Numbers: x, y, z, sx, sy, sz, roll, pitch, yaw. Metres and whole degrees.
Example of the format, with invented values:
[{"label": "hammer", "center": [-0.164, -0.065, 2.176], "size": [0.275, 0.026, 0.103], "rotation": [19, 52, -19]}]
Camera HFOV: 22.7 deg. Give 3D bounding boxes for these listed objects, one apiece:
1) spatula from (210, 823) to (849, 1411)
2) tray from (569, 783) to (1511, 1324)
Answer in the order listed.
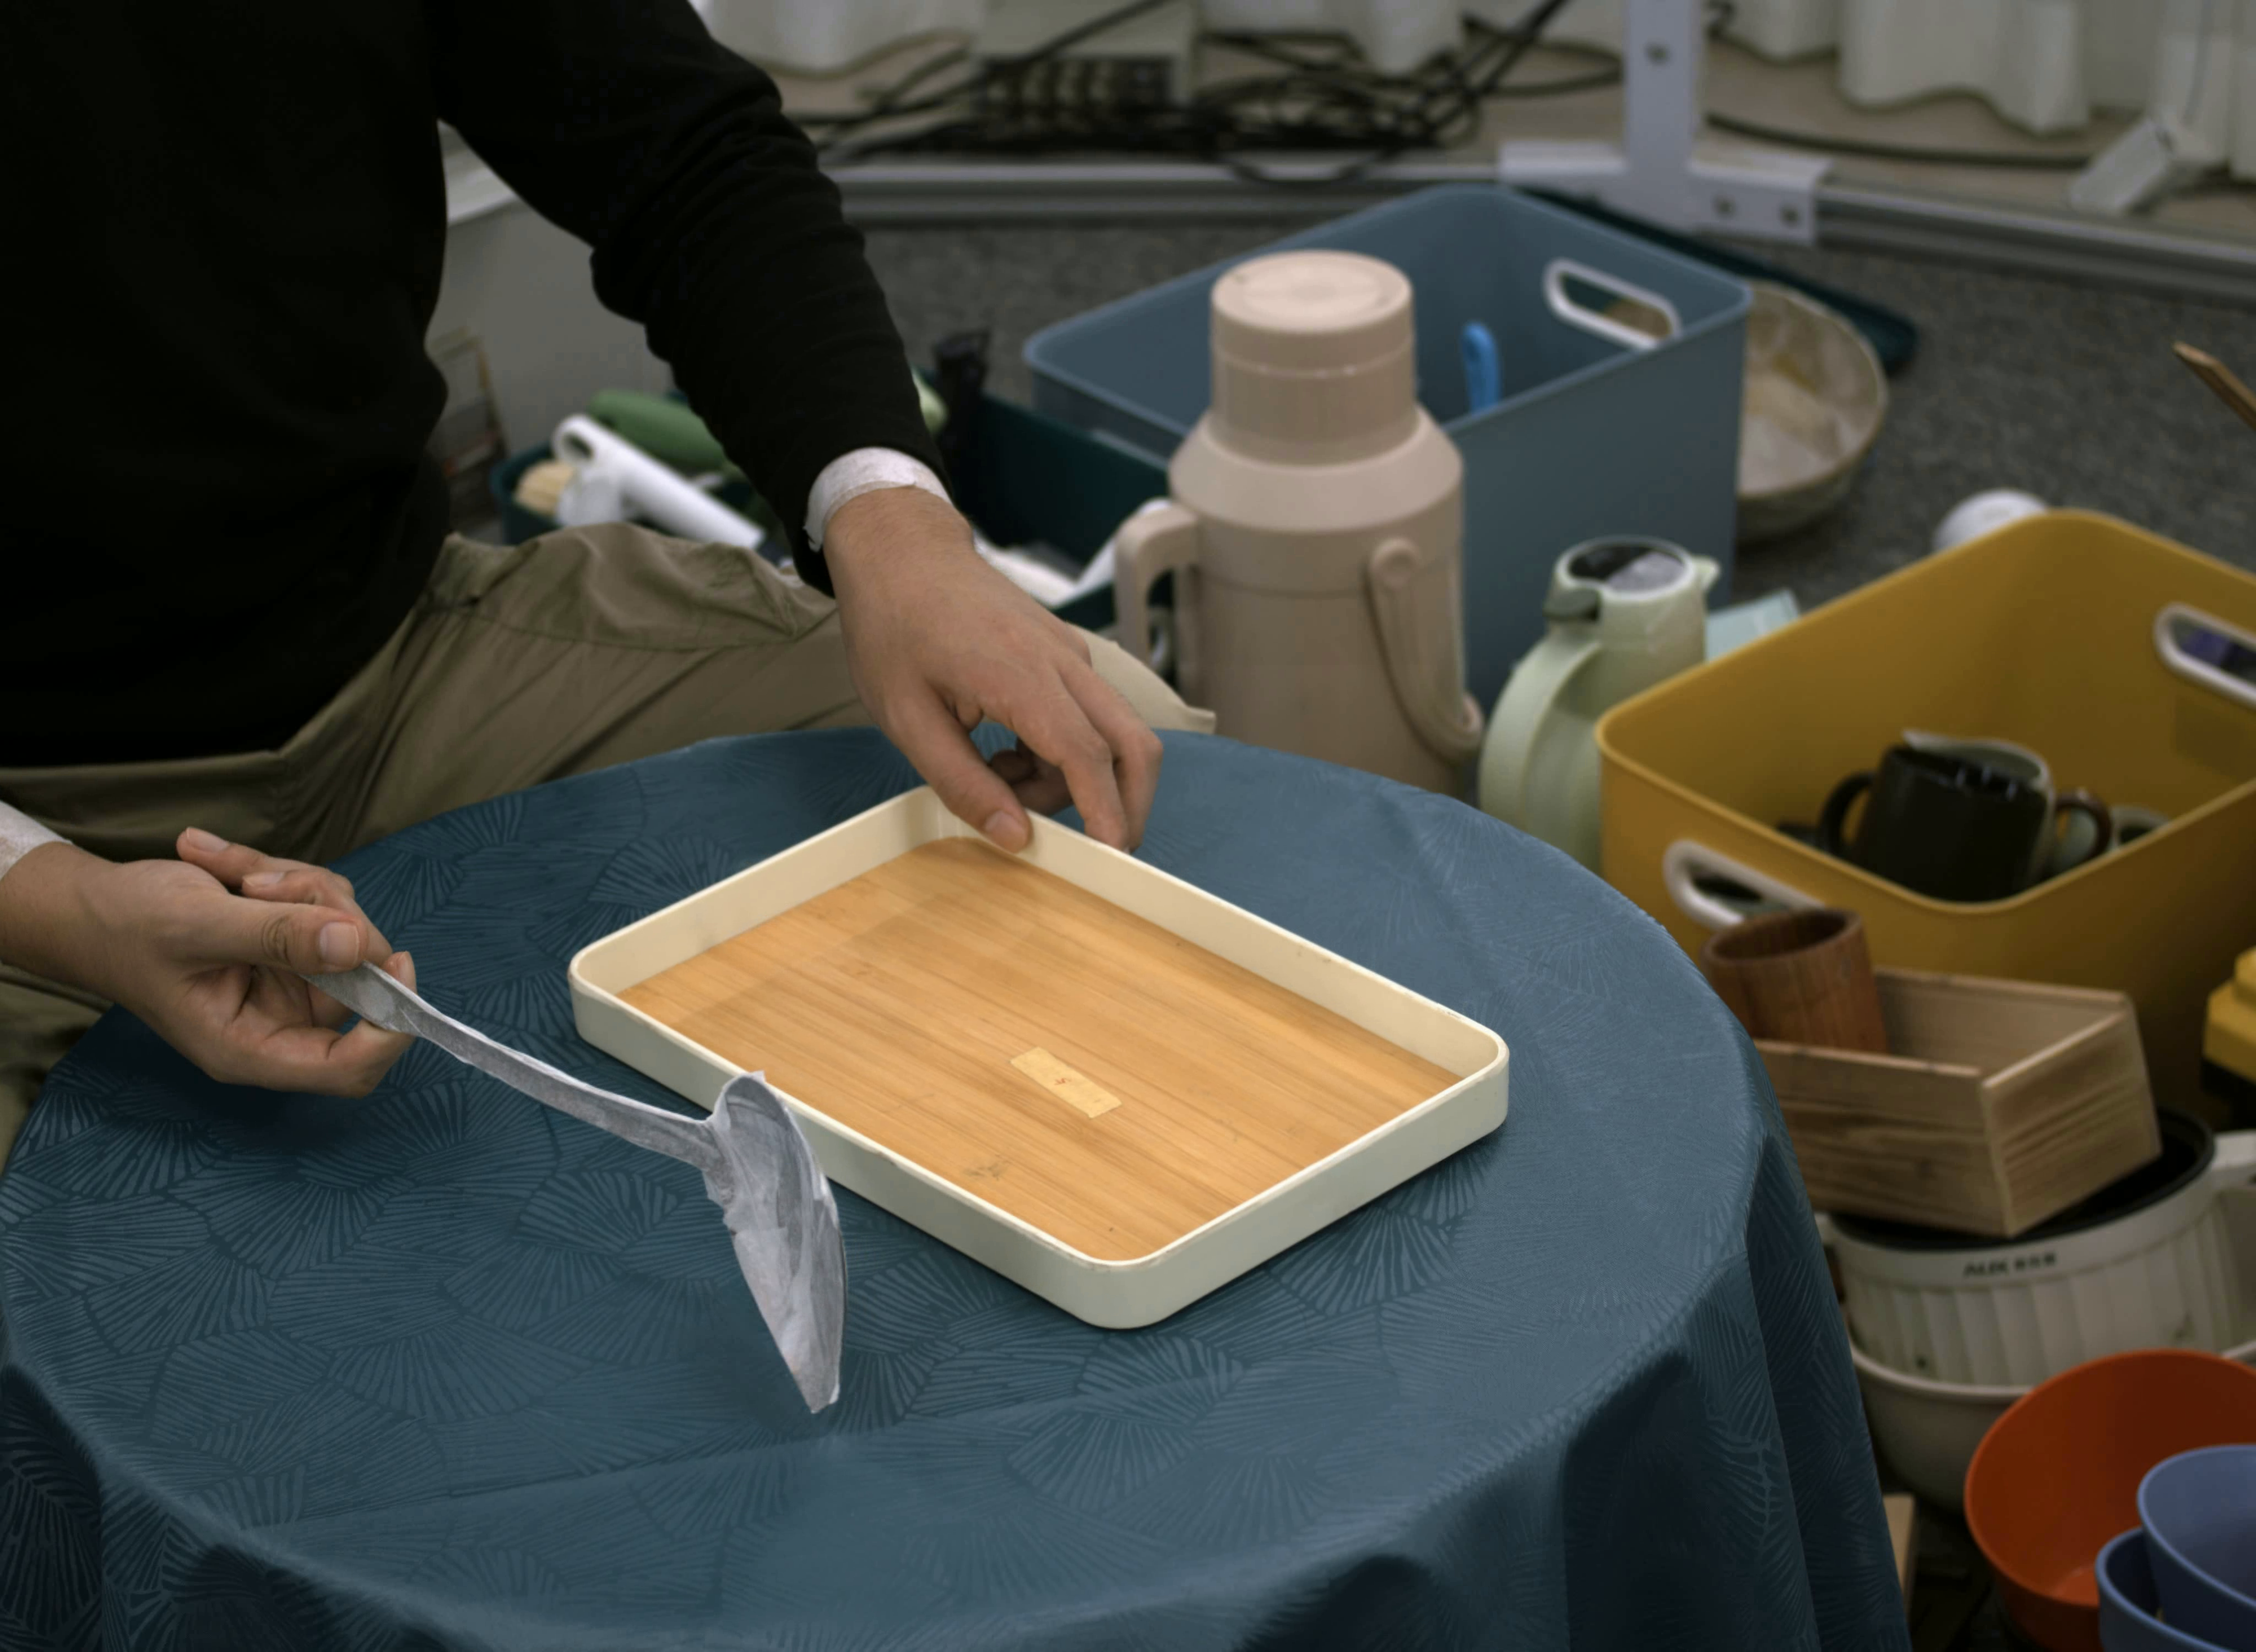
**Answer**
[{"label": "spatula", "center": [-0.203, 0.078, 1.834], "size": [0.364, 0.097, 0.045], "rotation": [25, 37, 37]}, {"label": "tray", "center": [-0.033, 0.072, 1.926], "size": [0.194, 0.027, 0.300], "rotation": [-26, 35, -35]}]
